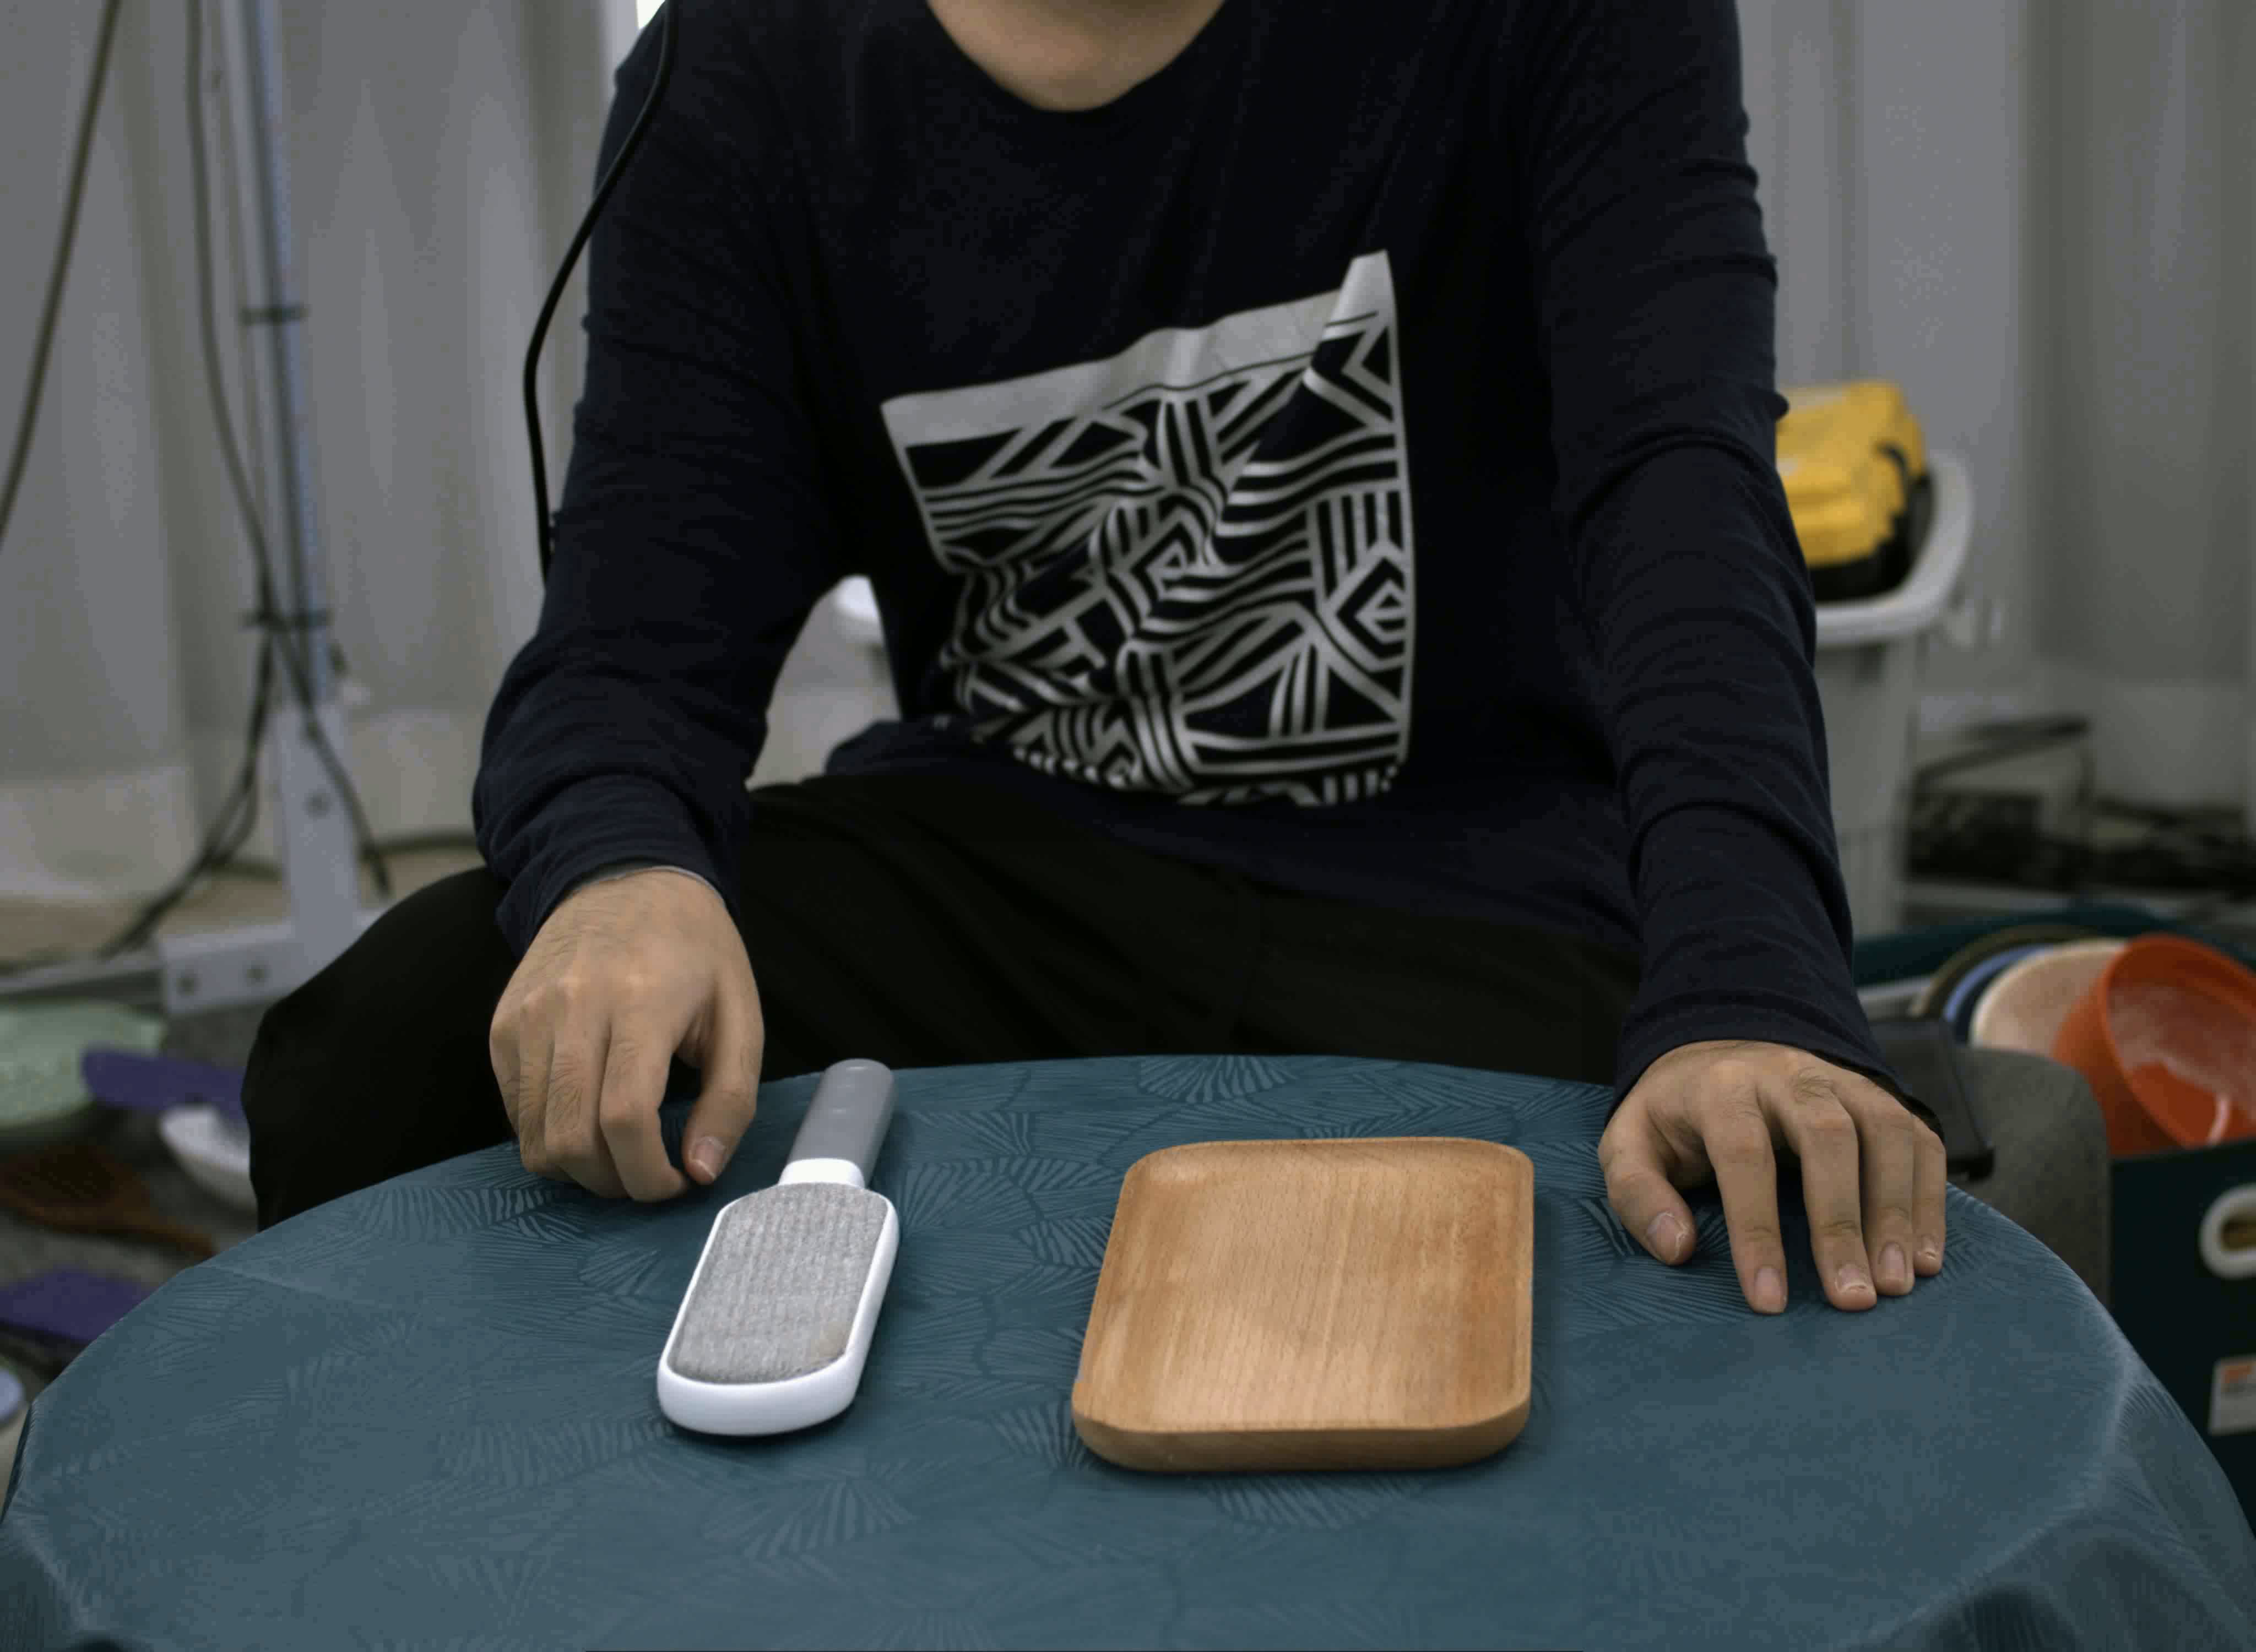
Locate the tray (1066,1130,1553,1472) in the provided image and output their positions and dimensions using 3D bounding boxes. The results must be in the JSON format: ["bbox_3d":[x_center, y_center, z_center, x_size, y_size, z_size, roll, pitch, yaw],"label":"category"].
[{"bbox_3d":[0.057,0.136,1.594,0.130,0.023,0.252,1,15,7],"label":"tray"}]

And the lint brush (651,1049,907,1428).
[{"bbox_3d":[-0.097,0.121,1.660,0.060,0.021,0.311,-7,14,5],"label":"lint brush"}]
